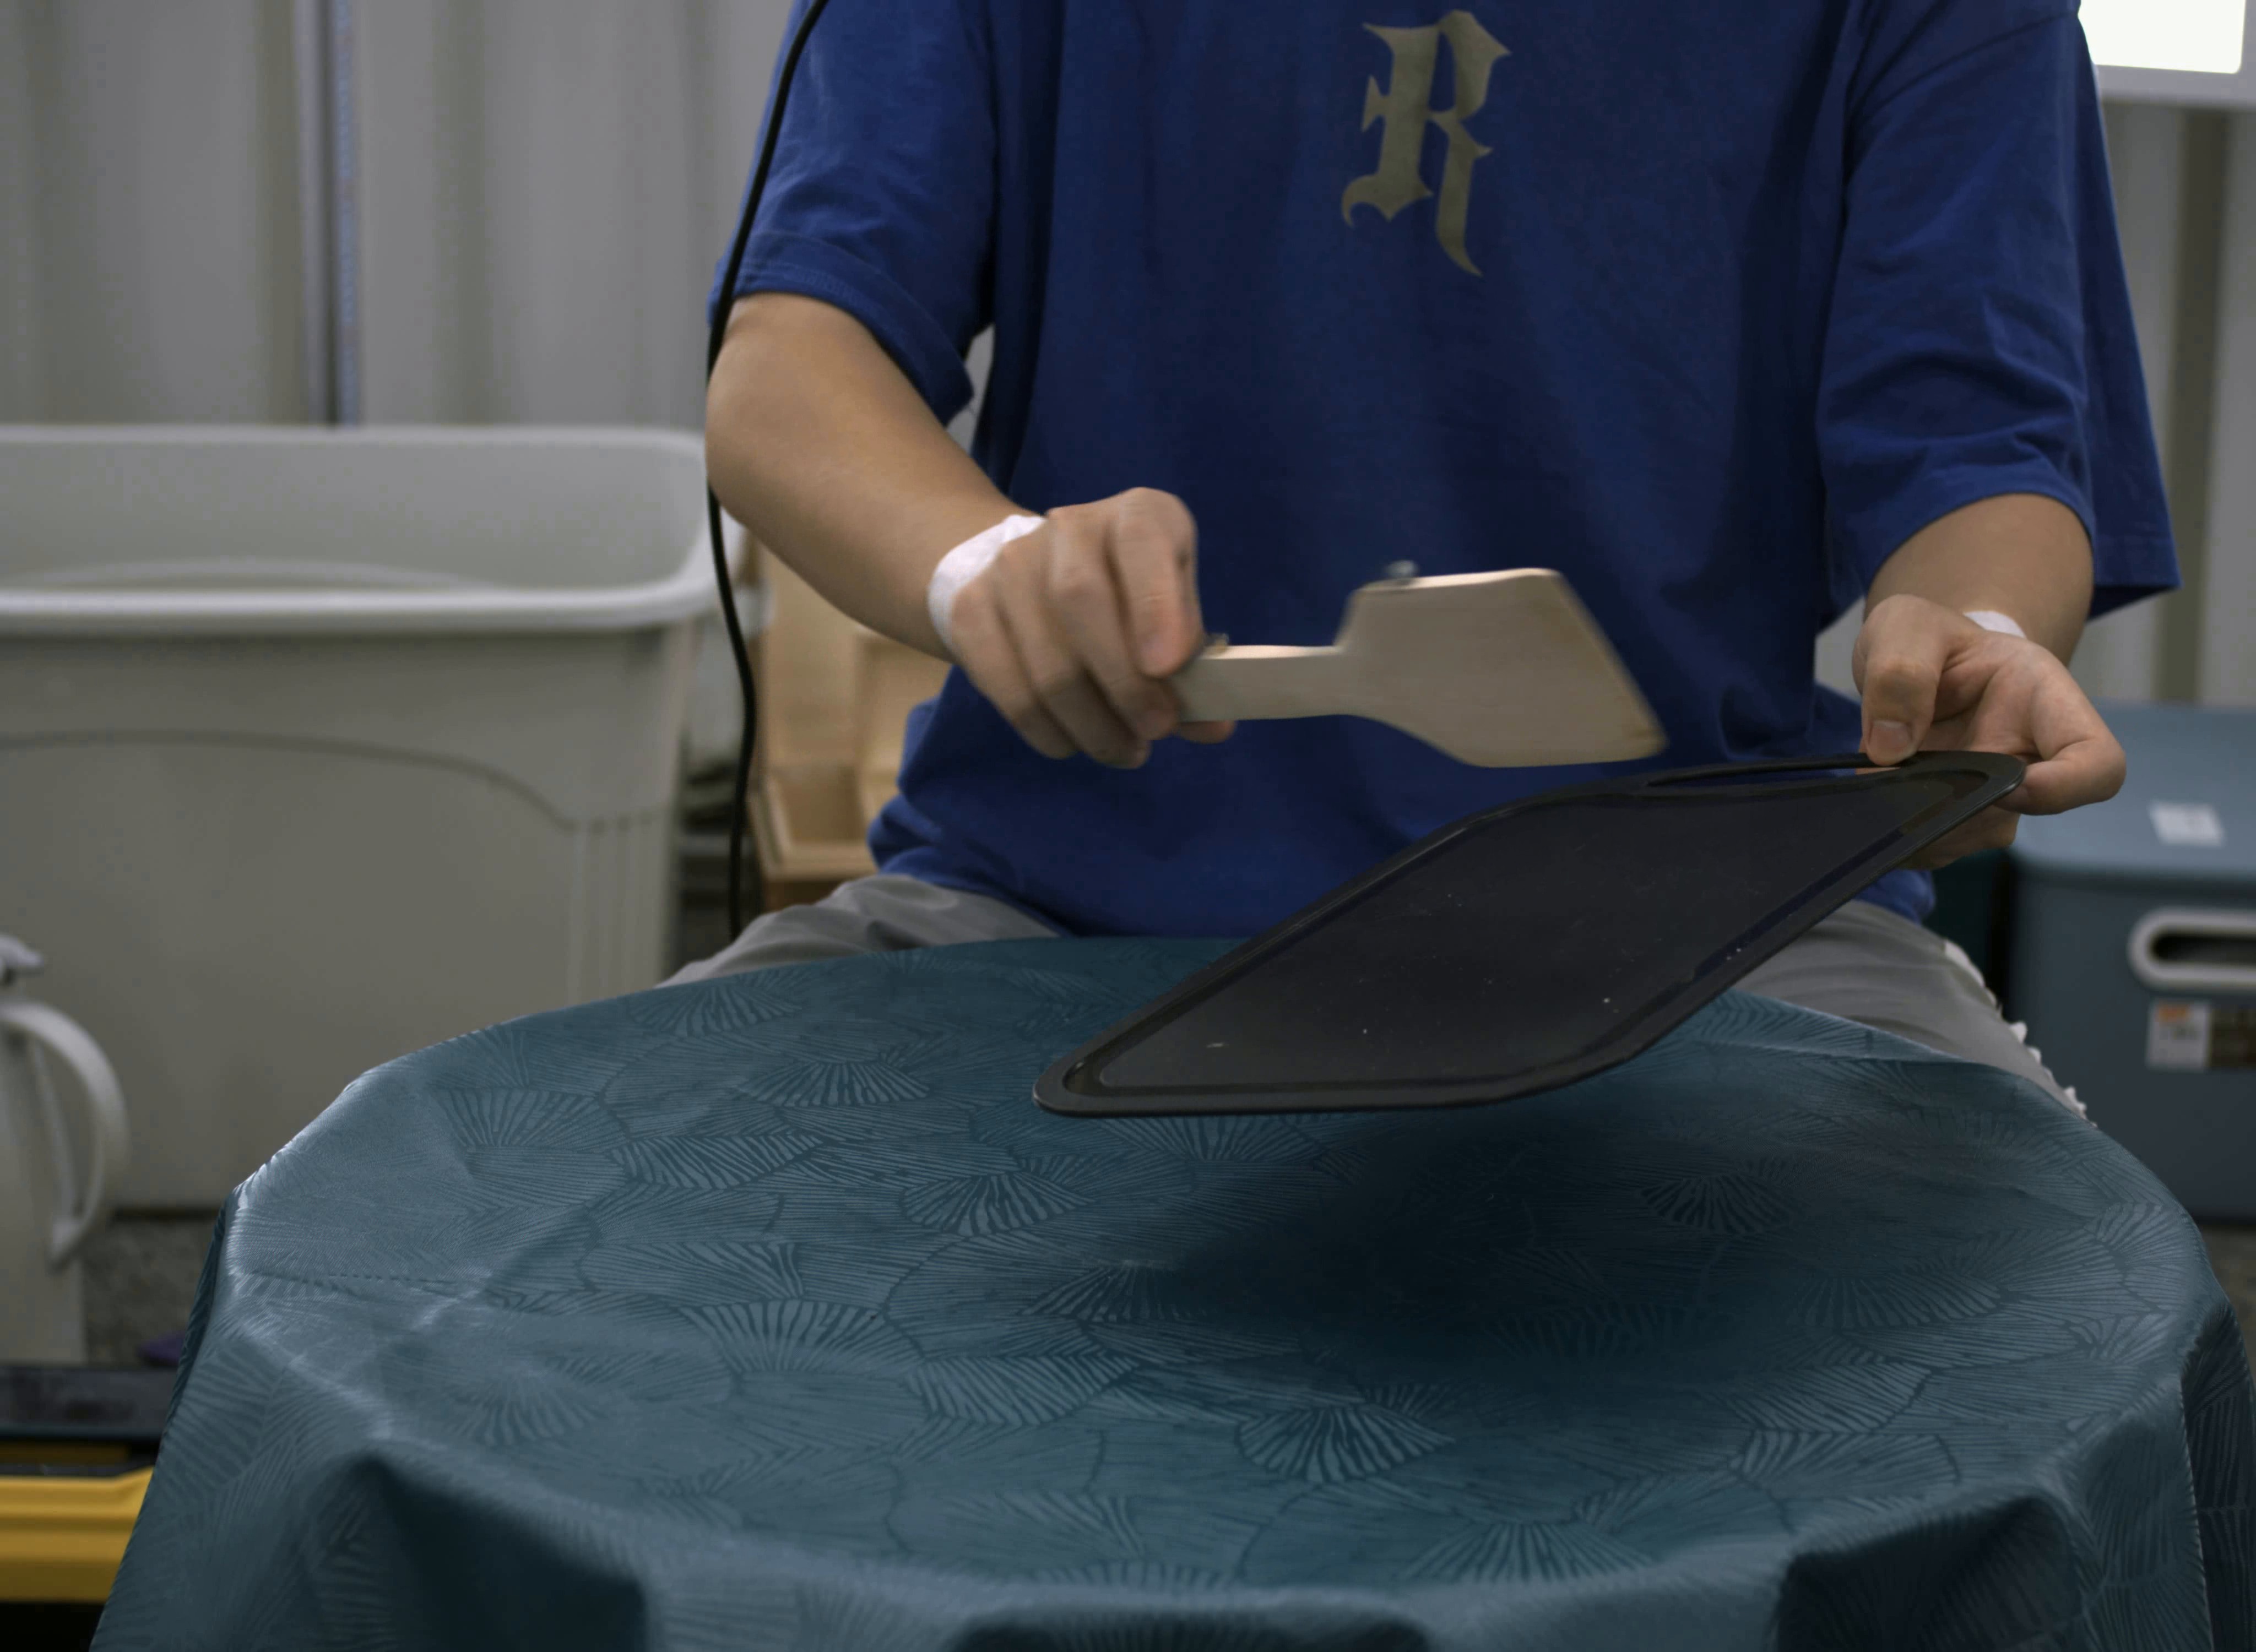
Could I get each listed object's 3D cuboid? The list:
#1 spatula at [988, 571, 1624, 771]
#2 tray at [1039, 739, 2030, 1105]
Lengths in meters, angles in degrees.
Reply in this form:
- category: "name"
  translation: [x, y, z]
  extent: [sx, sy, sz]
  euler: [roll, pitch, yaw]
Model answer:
- category: "spatula"
  translation: [0.041, -0.045, 1.619]
  extent: [0.010, 0.073, 0.290]
  euler: [-48, 25, -25]
- category: "tray"
  translation: [0.129, 0.024, 1.583]
  extent: [0.209, 0.010, 0.326]
  euler: [-4, 16, 39]
